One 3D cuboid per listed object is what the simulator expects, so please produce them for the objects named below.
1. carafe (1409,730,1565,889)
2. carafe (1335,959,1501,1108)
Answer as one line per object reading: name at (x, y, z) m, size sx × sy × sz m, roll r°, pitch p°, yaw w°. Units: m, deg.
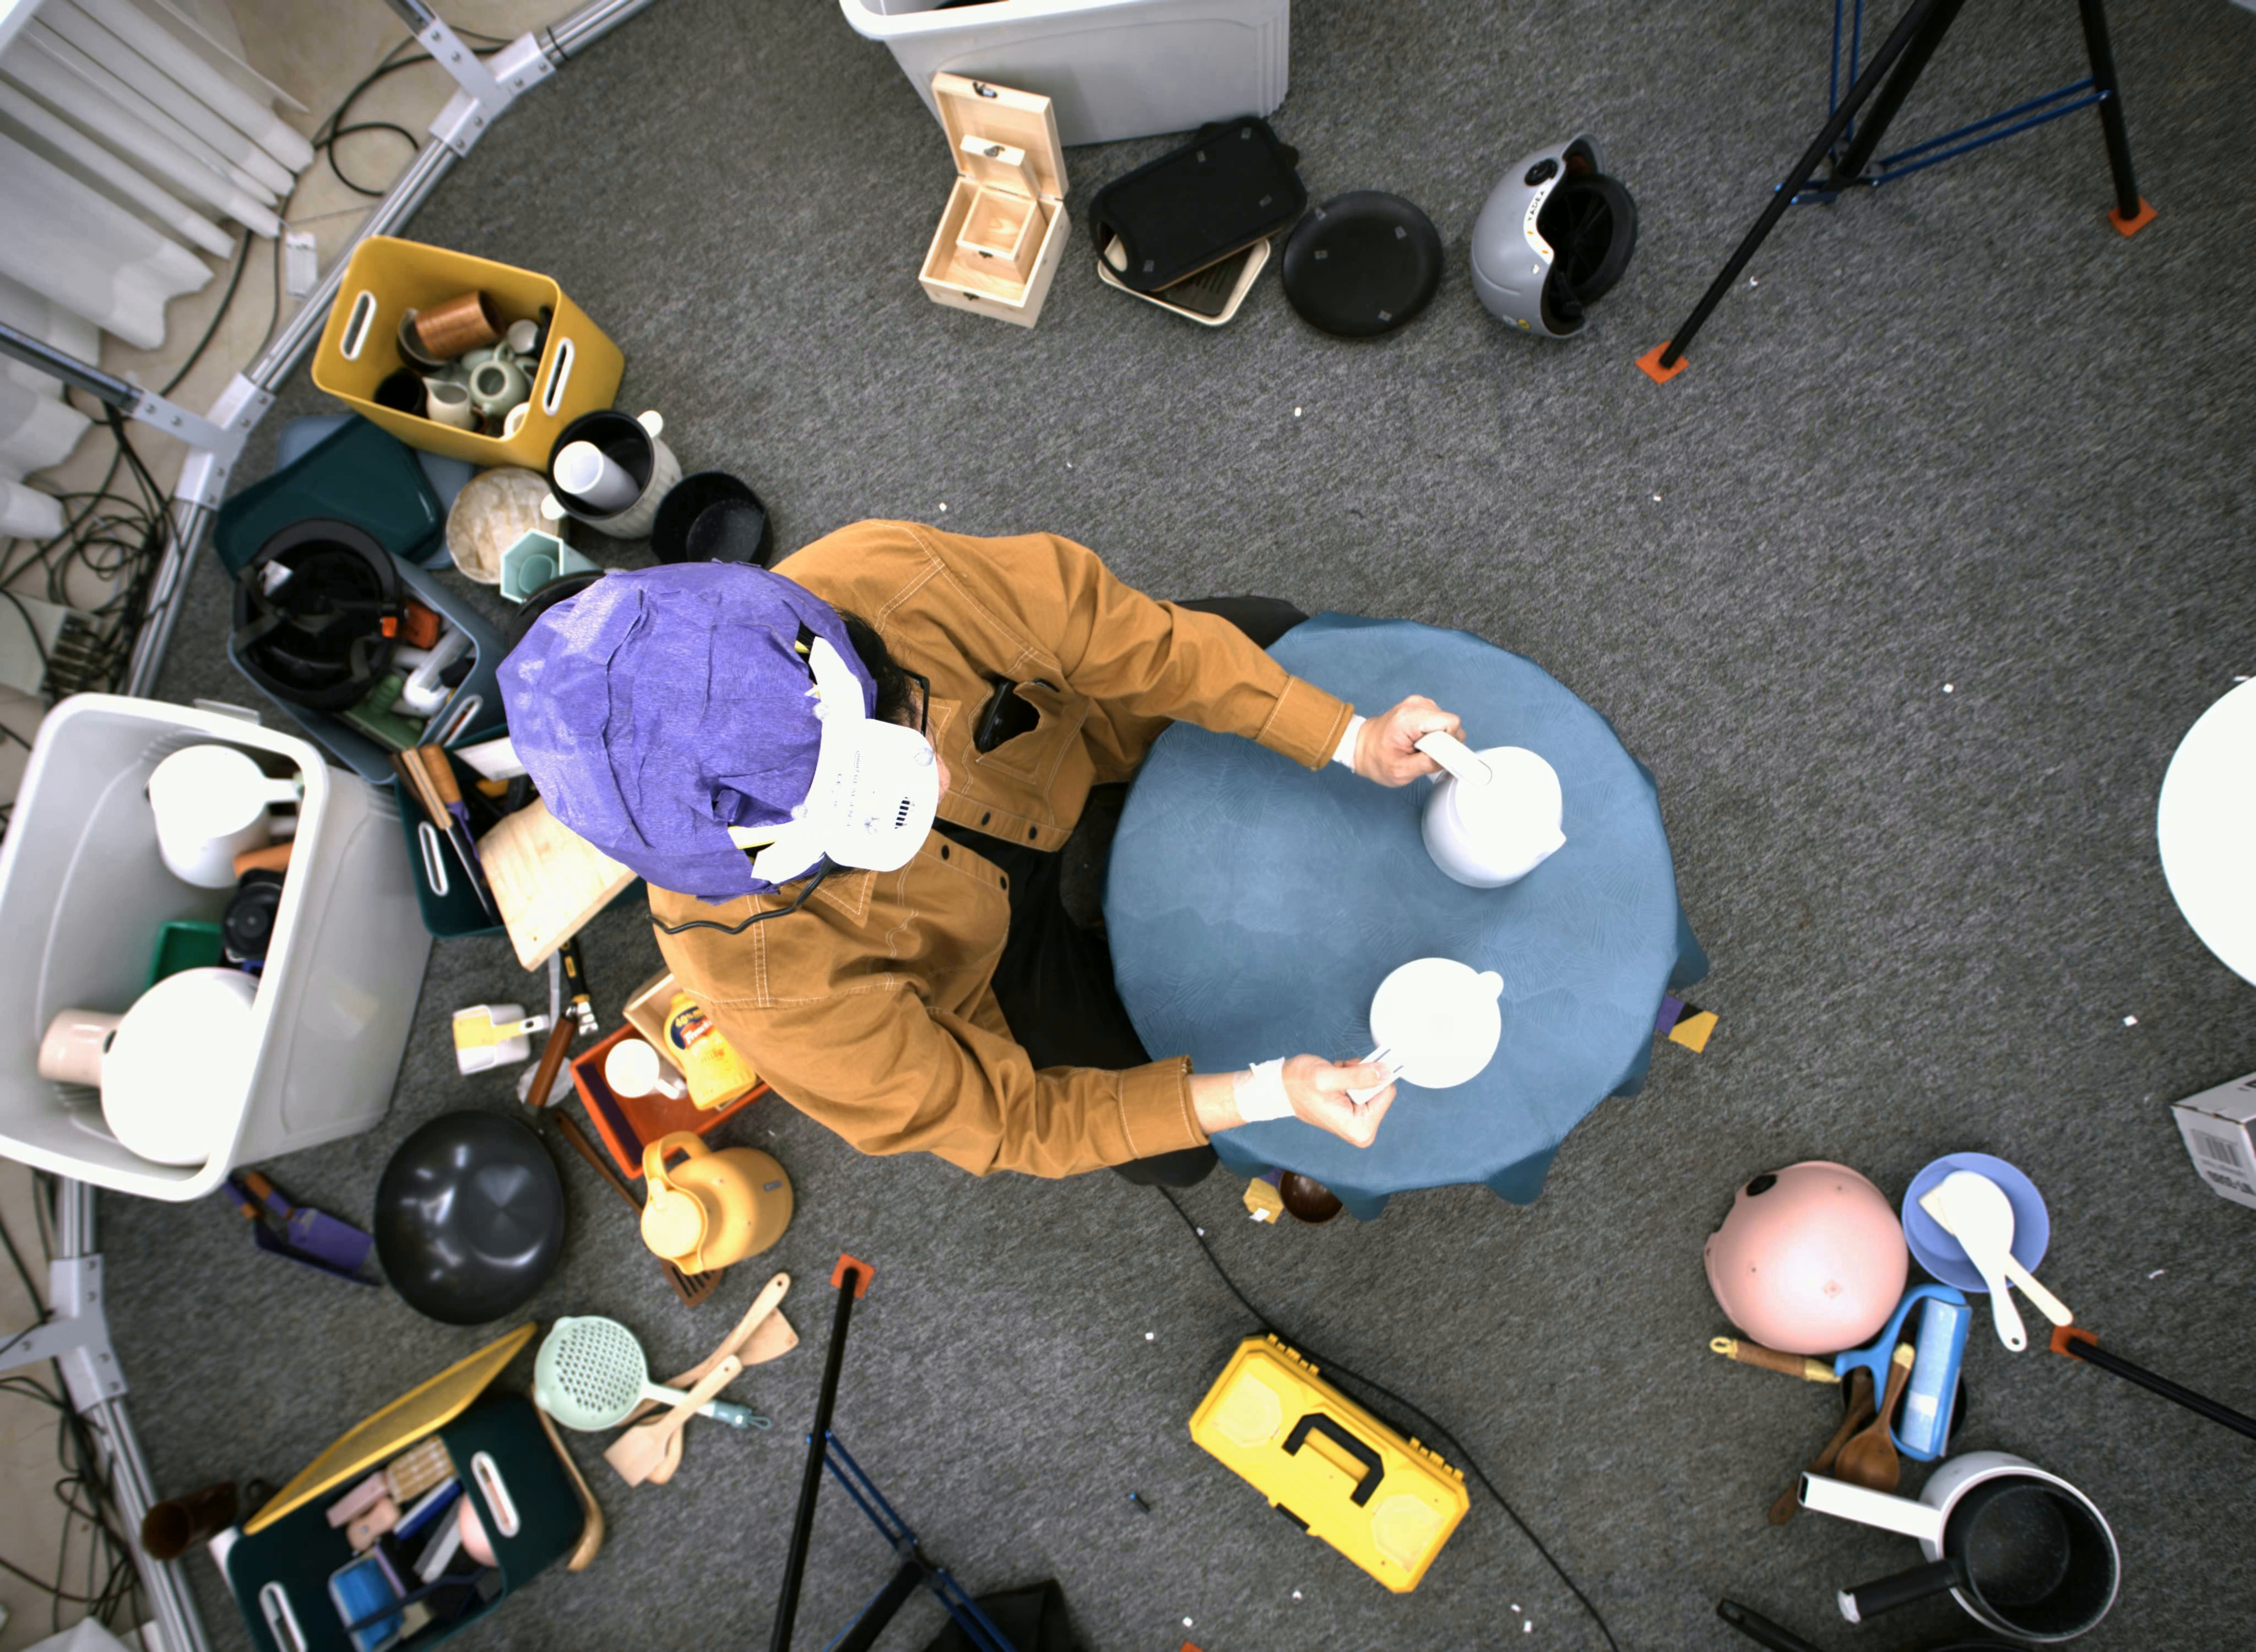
carafe at (0.339, -0.026, 1.326) m, size 0.167 × 0.249 × 0.133 m, roll 42°, pitch 93°, yaw 12°
carafe at (0.276, 0.197, 1.318) m, size 0.173 × 0.269 × 0.123 m, roll -40°, pitch 81°, yaw 5°
